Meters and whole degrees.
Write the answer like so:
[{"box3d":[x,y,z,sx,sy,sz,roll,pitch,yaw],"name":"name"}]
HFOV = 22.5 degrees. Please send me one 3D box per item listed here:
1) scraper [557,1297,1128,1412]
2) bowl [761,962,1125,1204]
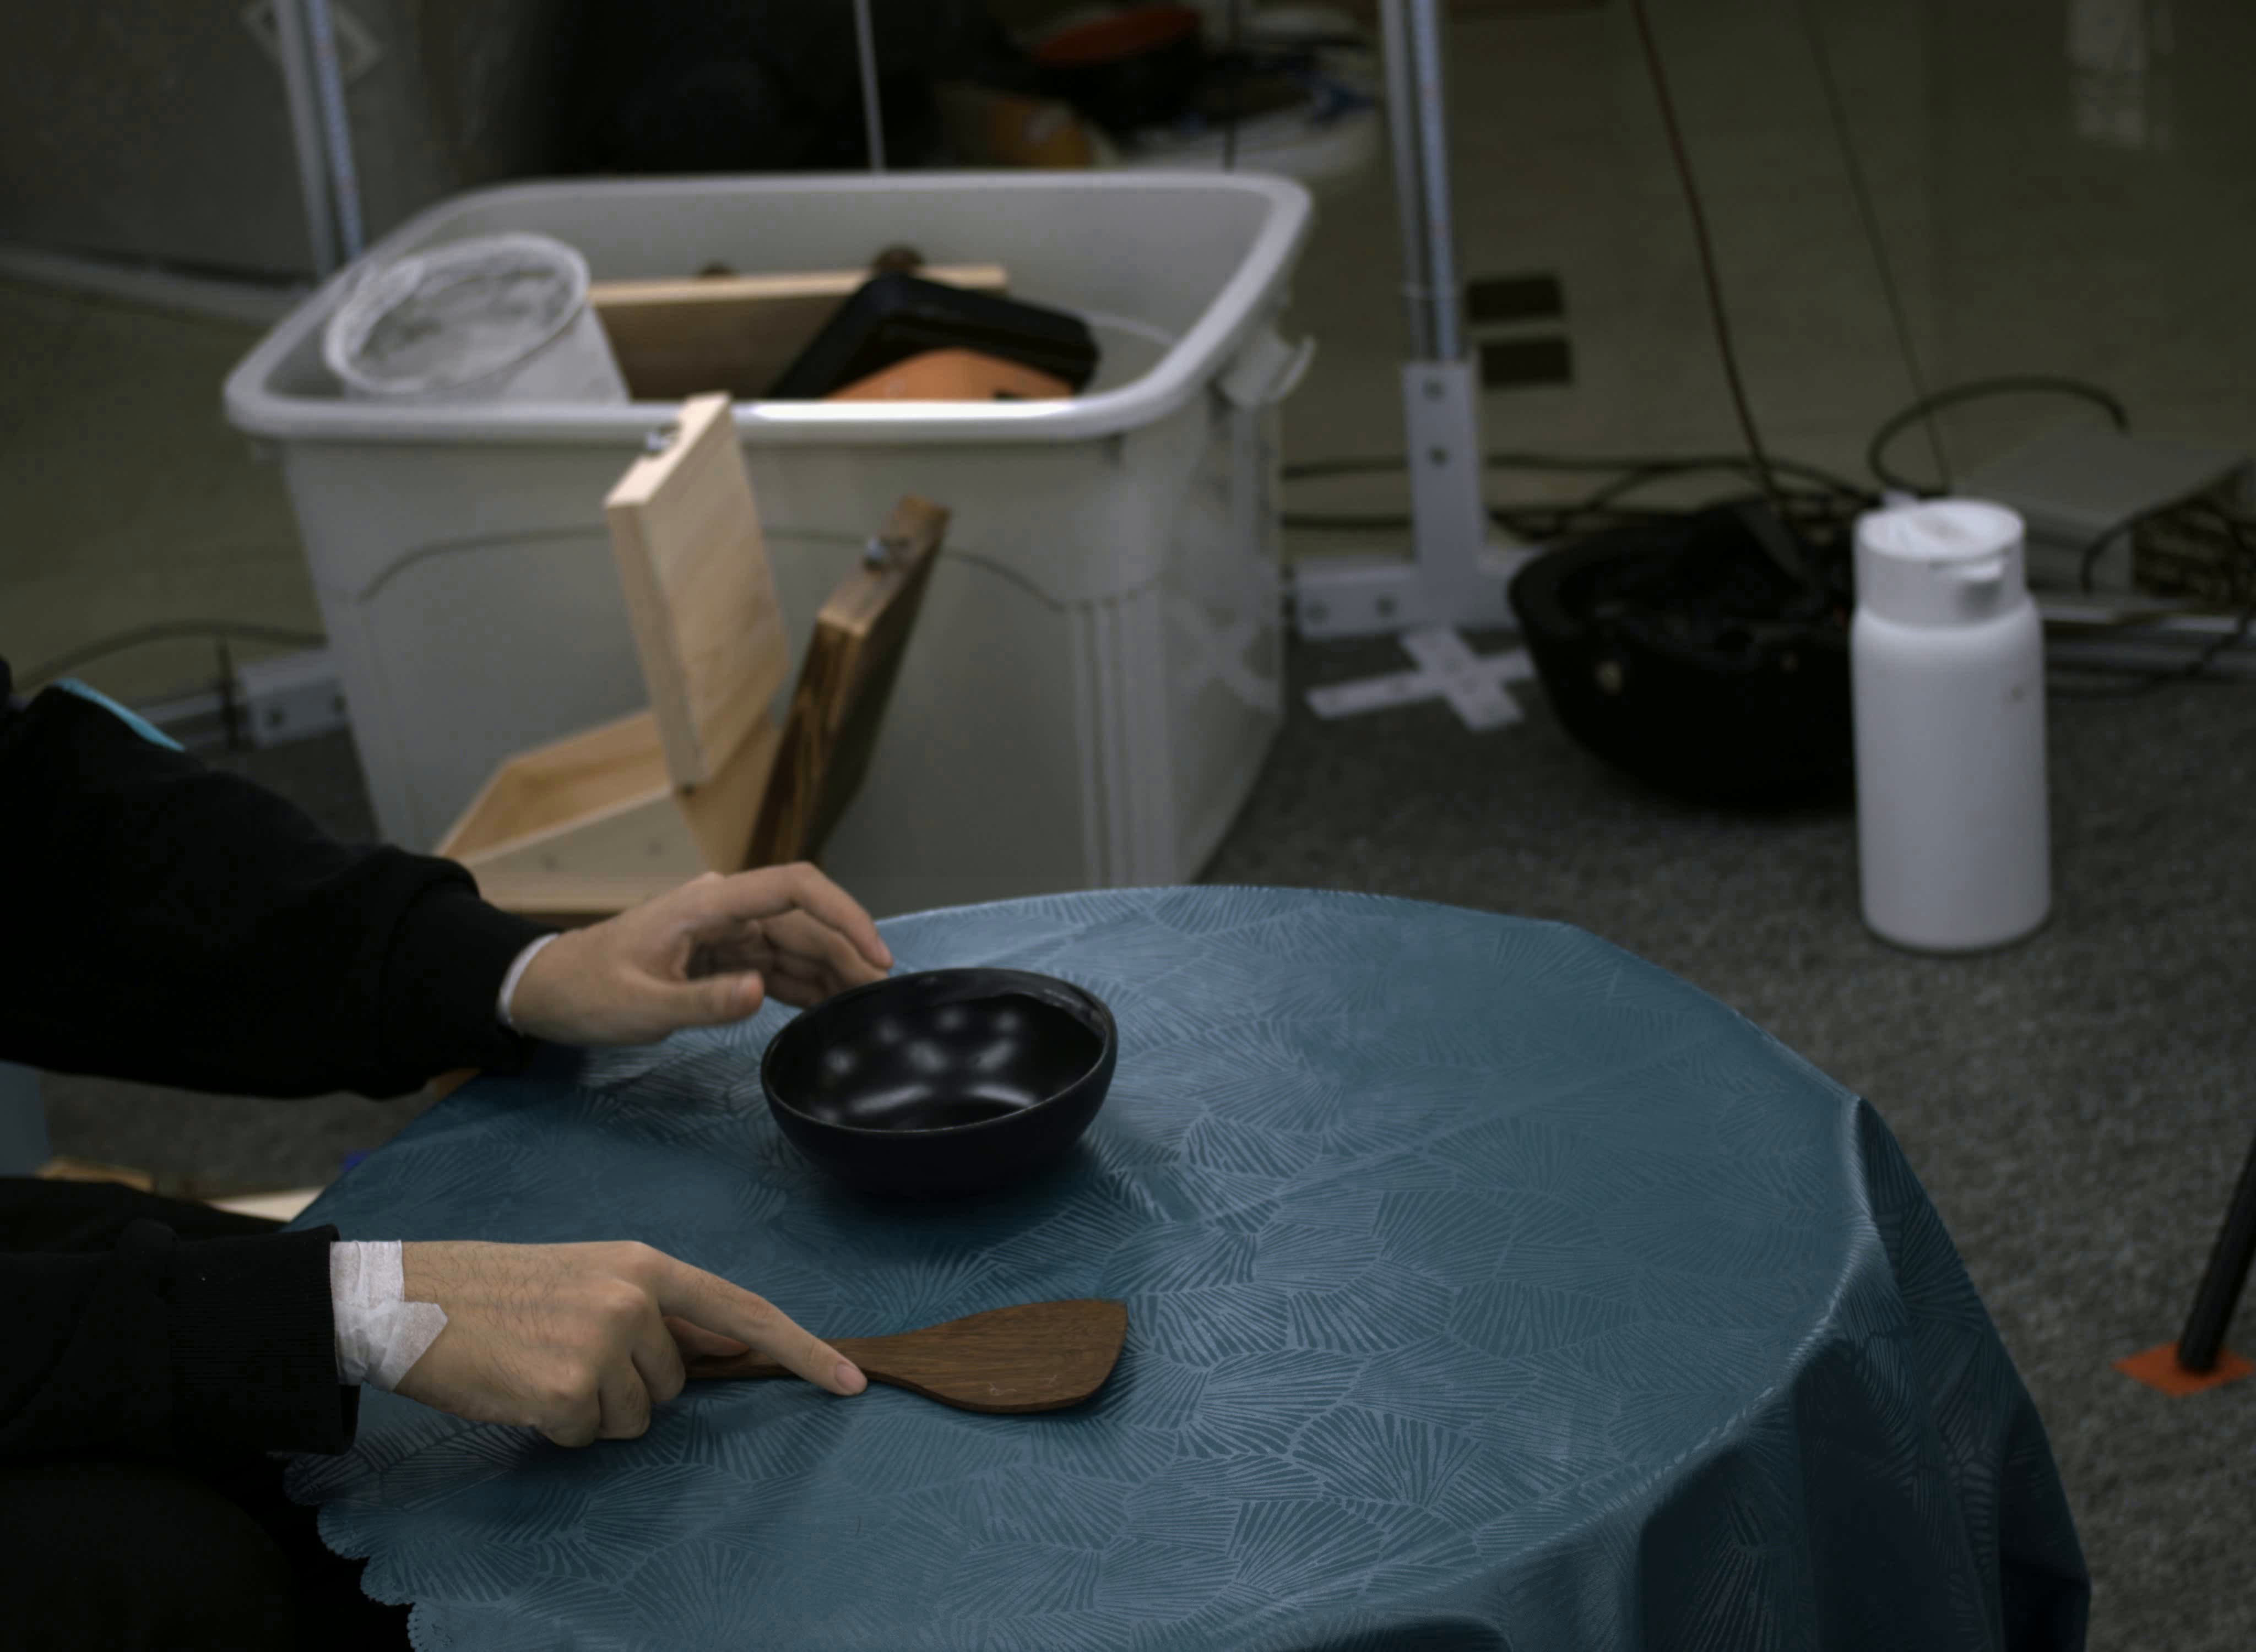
[{"box3d":[-0.104,0.193,2.054,0.211,0.011,0.075,-2,24,12],"name":"scraper"},{"box3d":[-0.069,0.106,2.181,0.140,0.050,0.138,-5,28,3],"name":"bowl"}]
